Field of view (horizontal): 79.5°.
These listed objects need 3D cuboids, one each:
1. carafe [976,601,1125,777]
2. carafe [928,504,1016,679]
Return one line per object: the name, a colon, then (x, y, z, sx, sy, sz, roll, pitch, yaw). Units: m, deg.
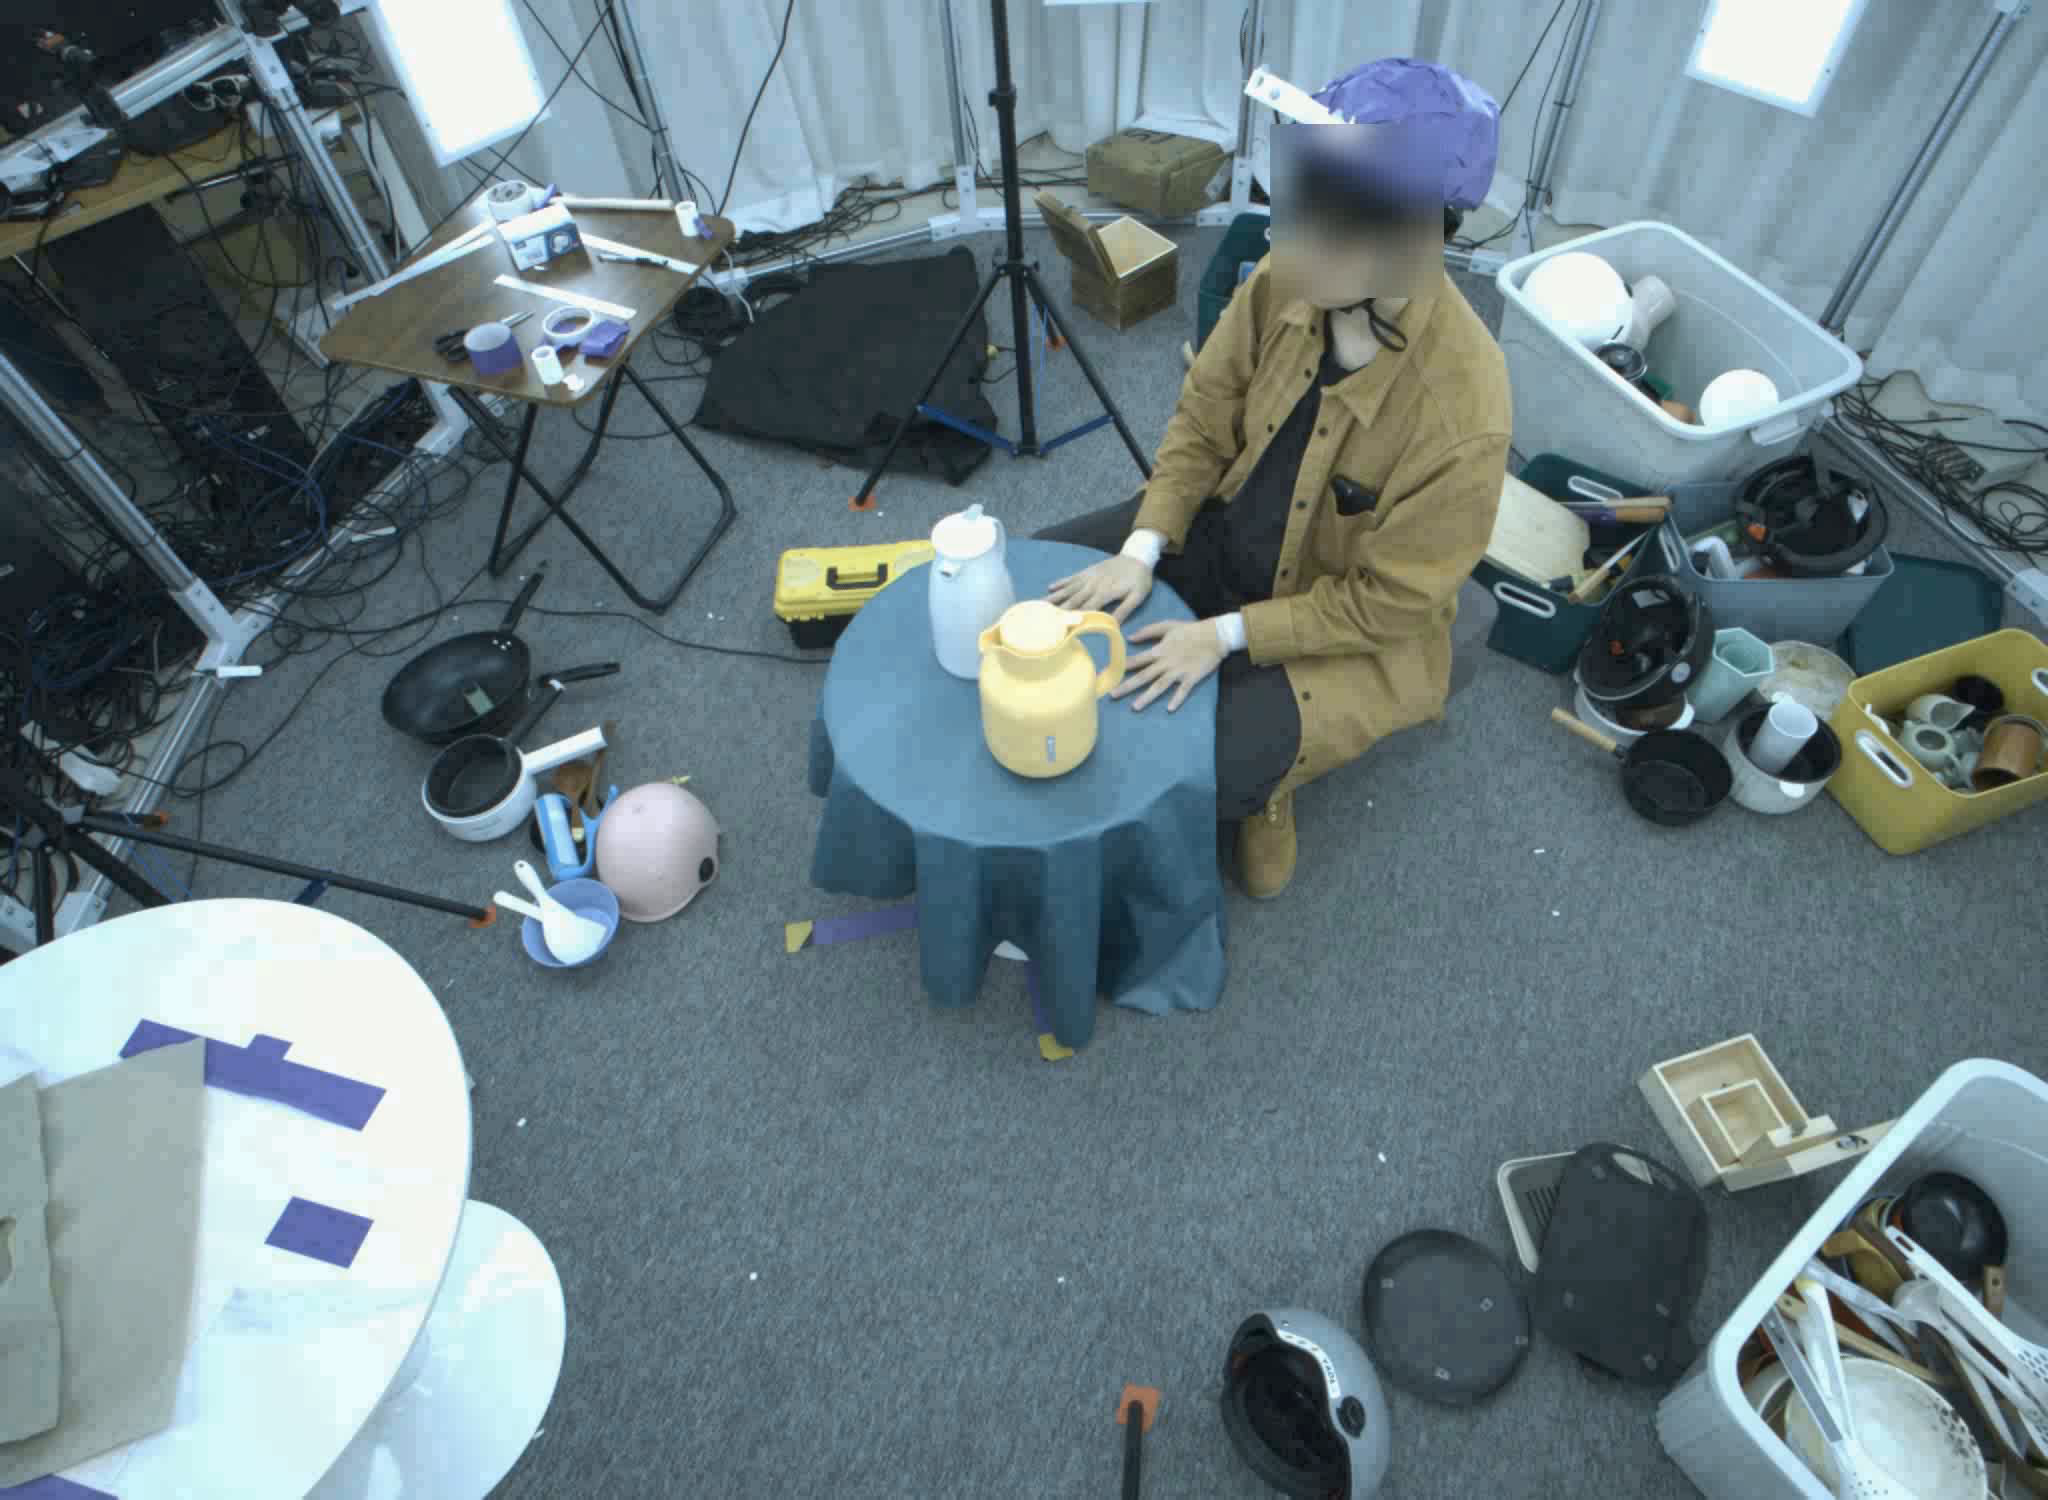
carafe: (0.038, -0.091, 1.687, 0.203, 0.263, 0.161, -12, 56, -4)
carafe: (-0.073, -0.246, 1.808, 0.131, 0.251, 0.167, 16, 56, 15)
